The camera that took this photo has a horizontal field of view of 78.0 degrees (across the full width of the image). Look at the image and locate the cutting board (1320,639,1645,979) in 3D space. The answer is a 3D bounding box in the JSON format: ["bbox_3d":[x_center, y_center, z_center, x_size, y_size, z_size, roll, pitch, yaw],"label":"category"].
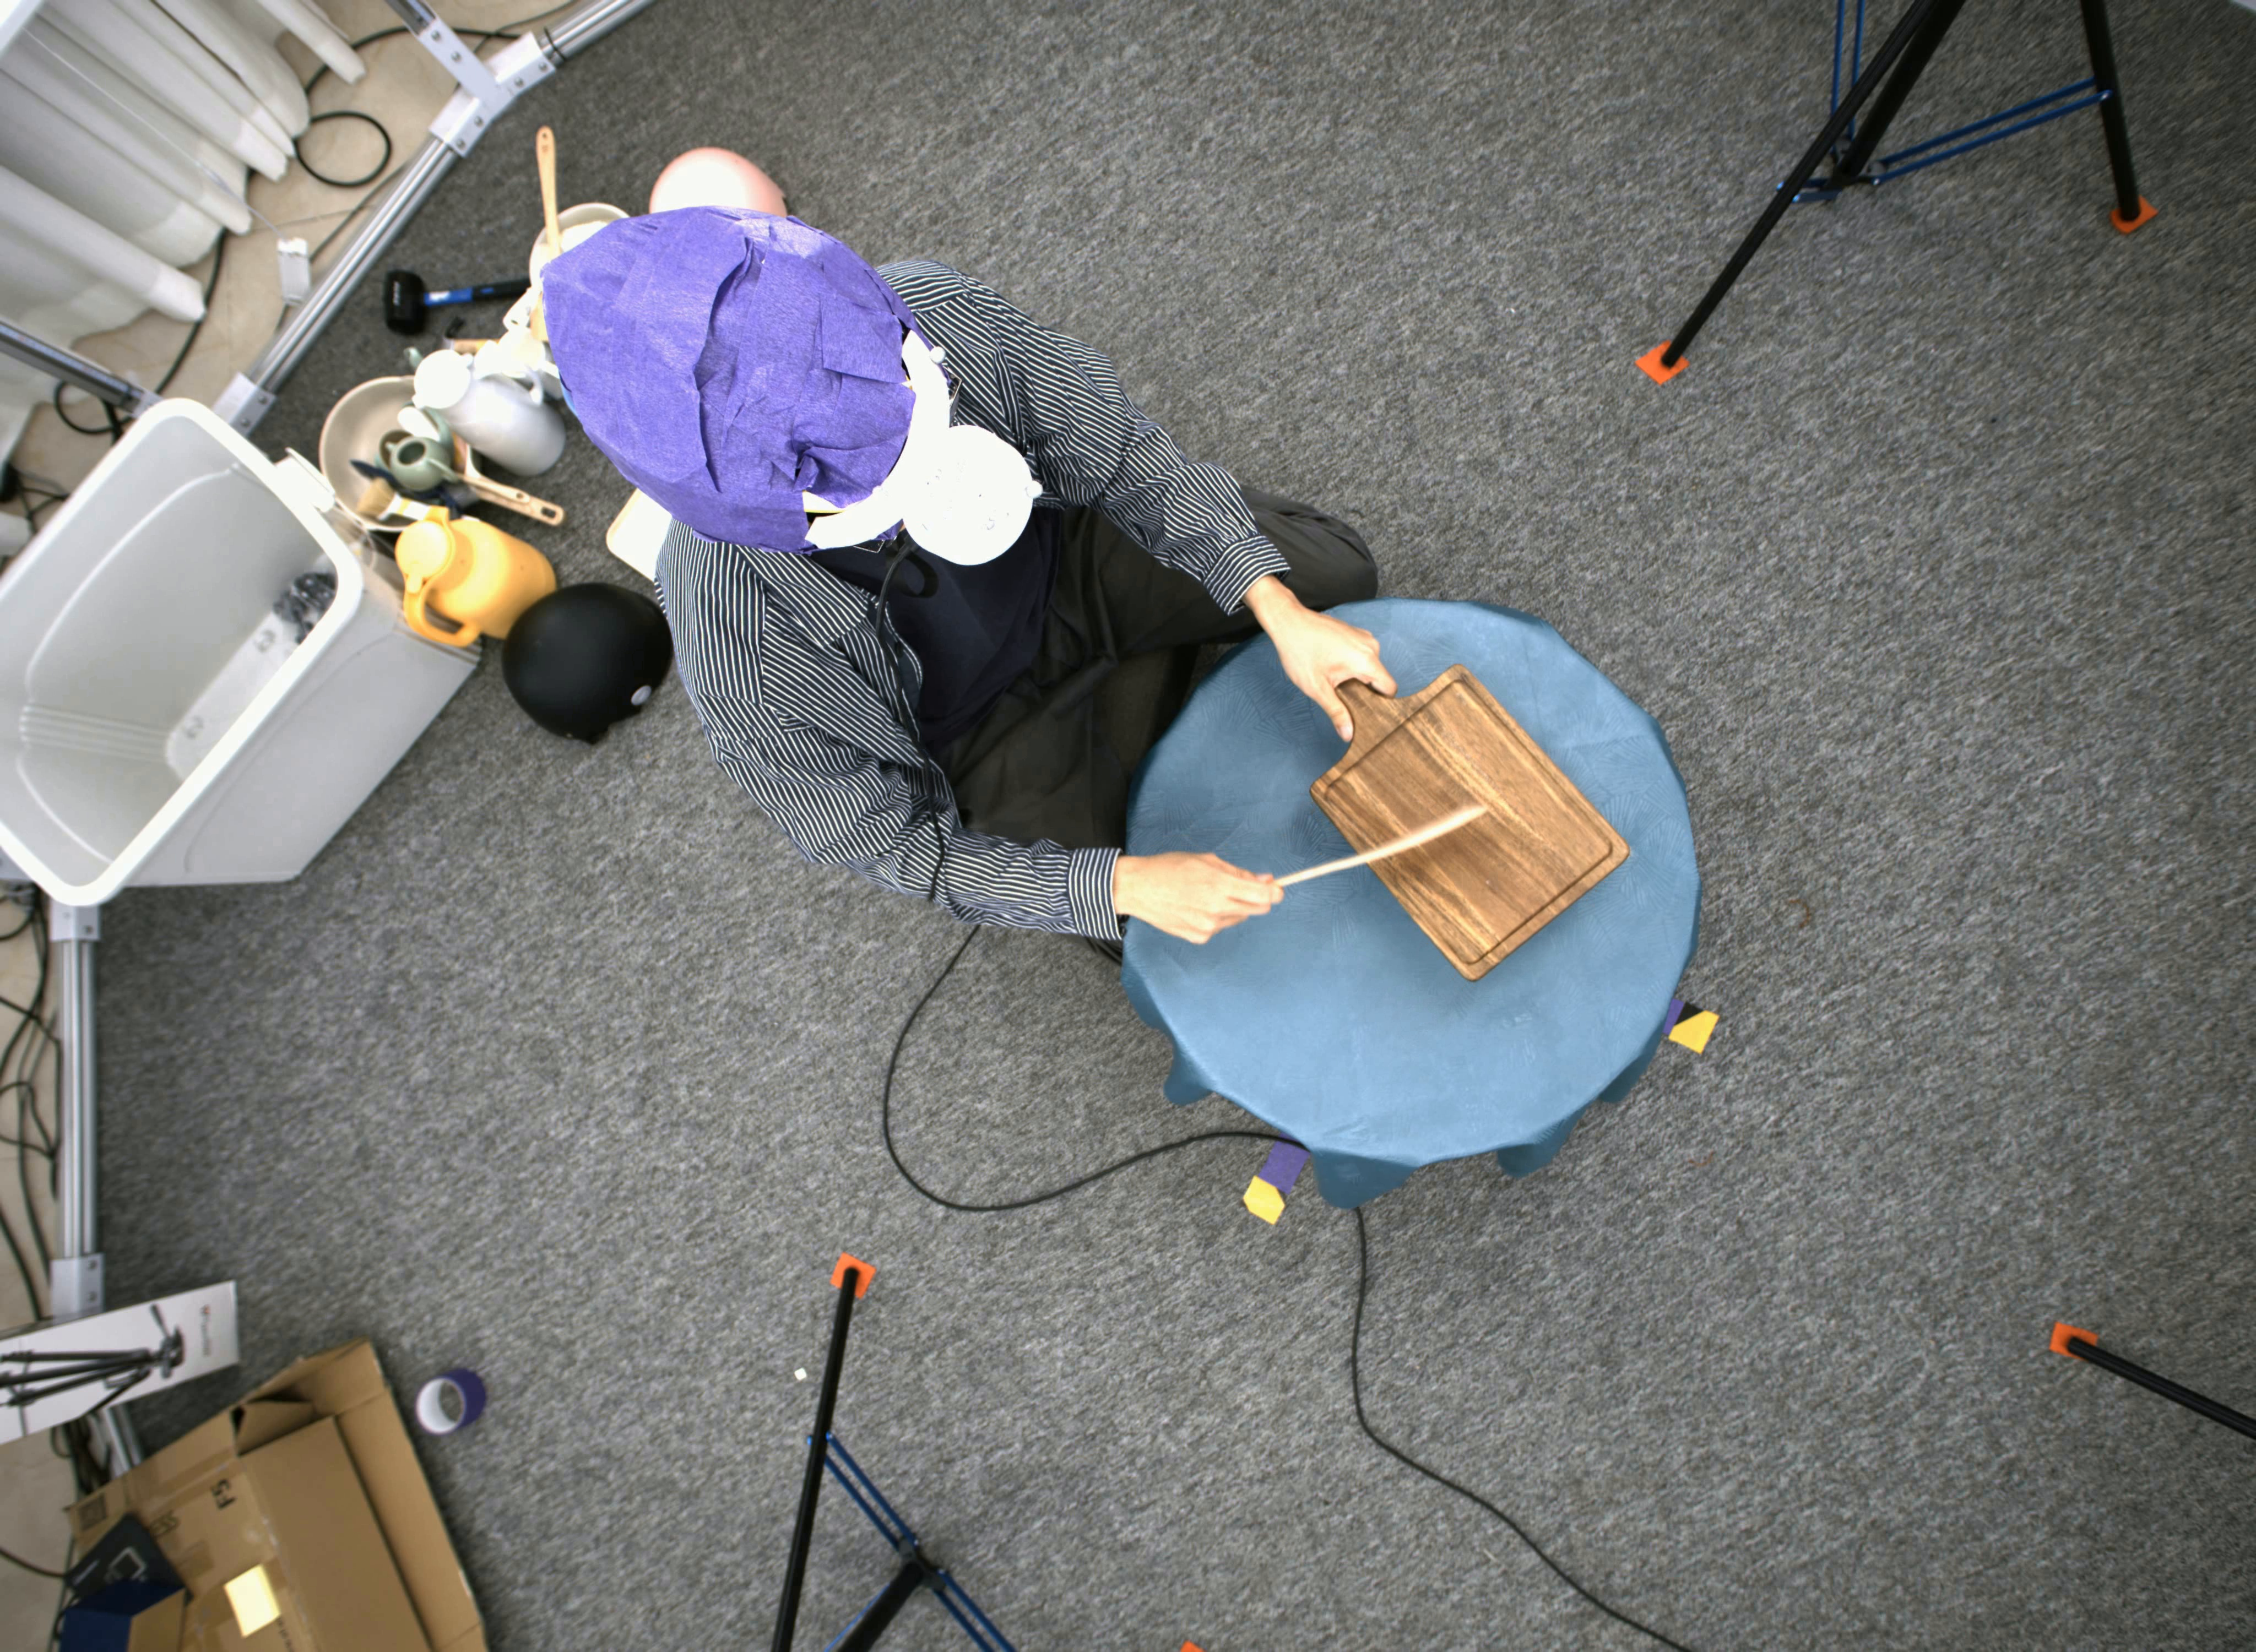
[{"bbox_3d":[0.305,-0.049,1.325,0.203,0.023,0.349,-40,75,11],"label":"cutting board"}]

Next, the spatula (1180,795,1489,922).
[{"bbox_3d":[0.190,0.032,1.299,0.332,0.079,0.016,-22,93,26],"label":"spatula"}]
